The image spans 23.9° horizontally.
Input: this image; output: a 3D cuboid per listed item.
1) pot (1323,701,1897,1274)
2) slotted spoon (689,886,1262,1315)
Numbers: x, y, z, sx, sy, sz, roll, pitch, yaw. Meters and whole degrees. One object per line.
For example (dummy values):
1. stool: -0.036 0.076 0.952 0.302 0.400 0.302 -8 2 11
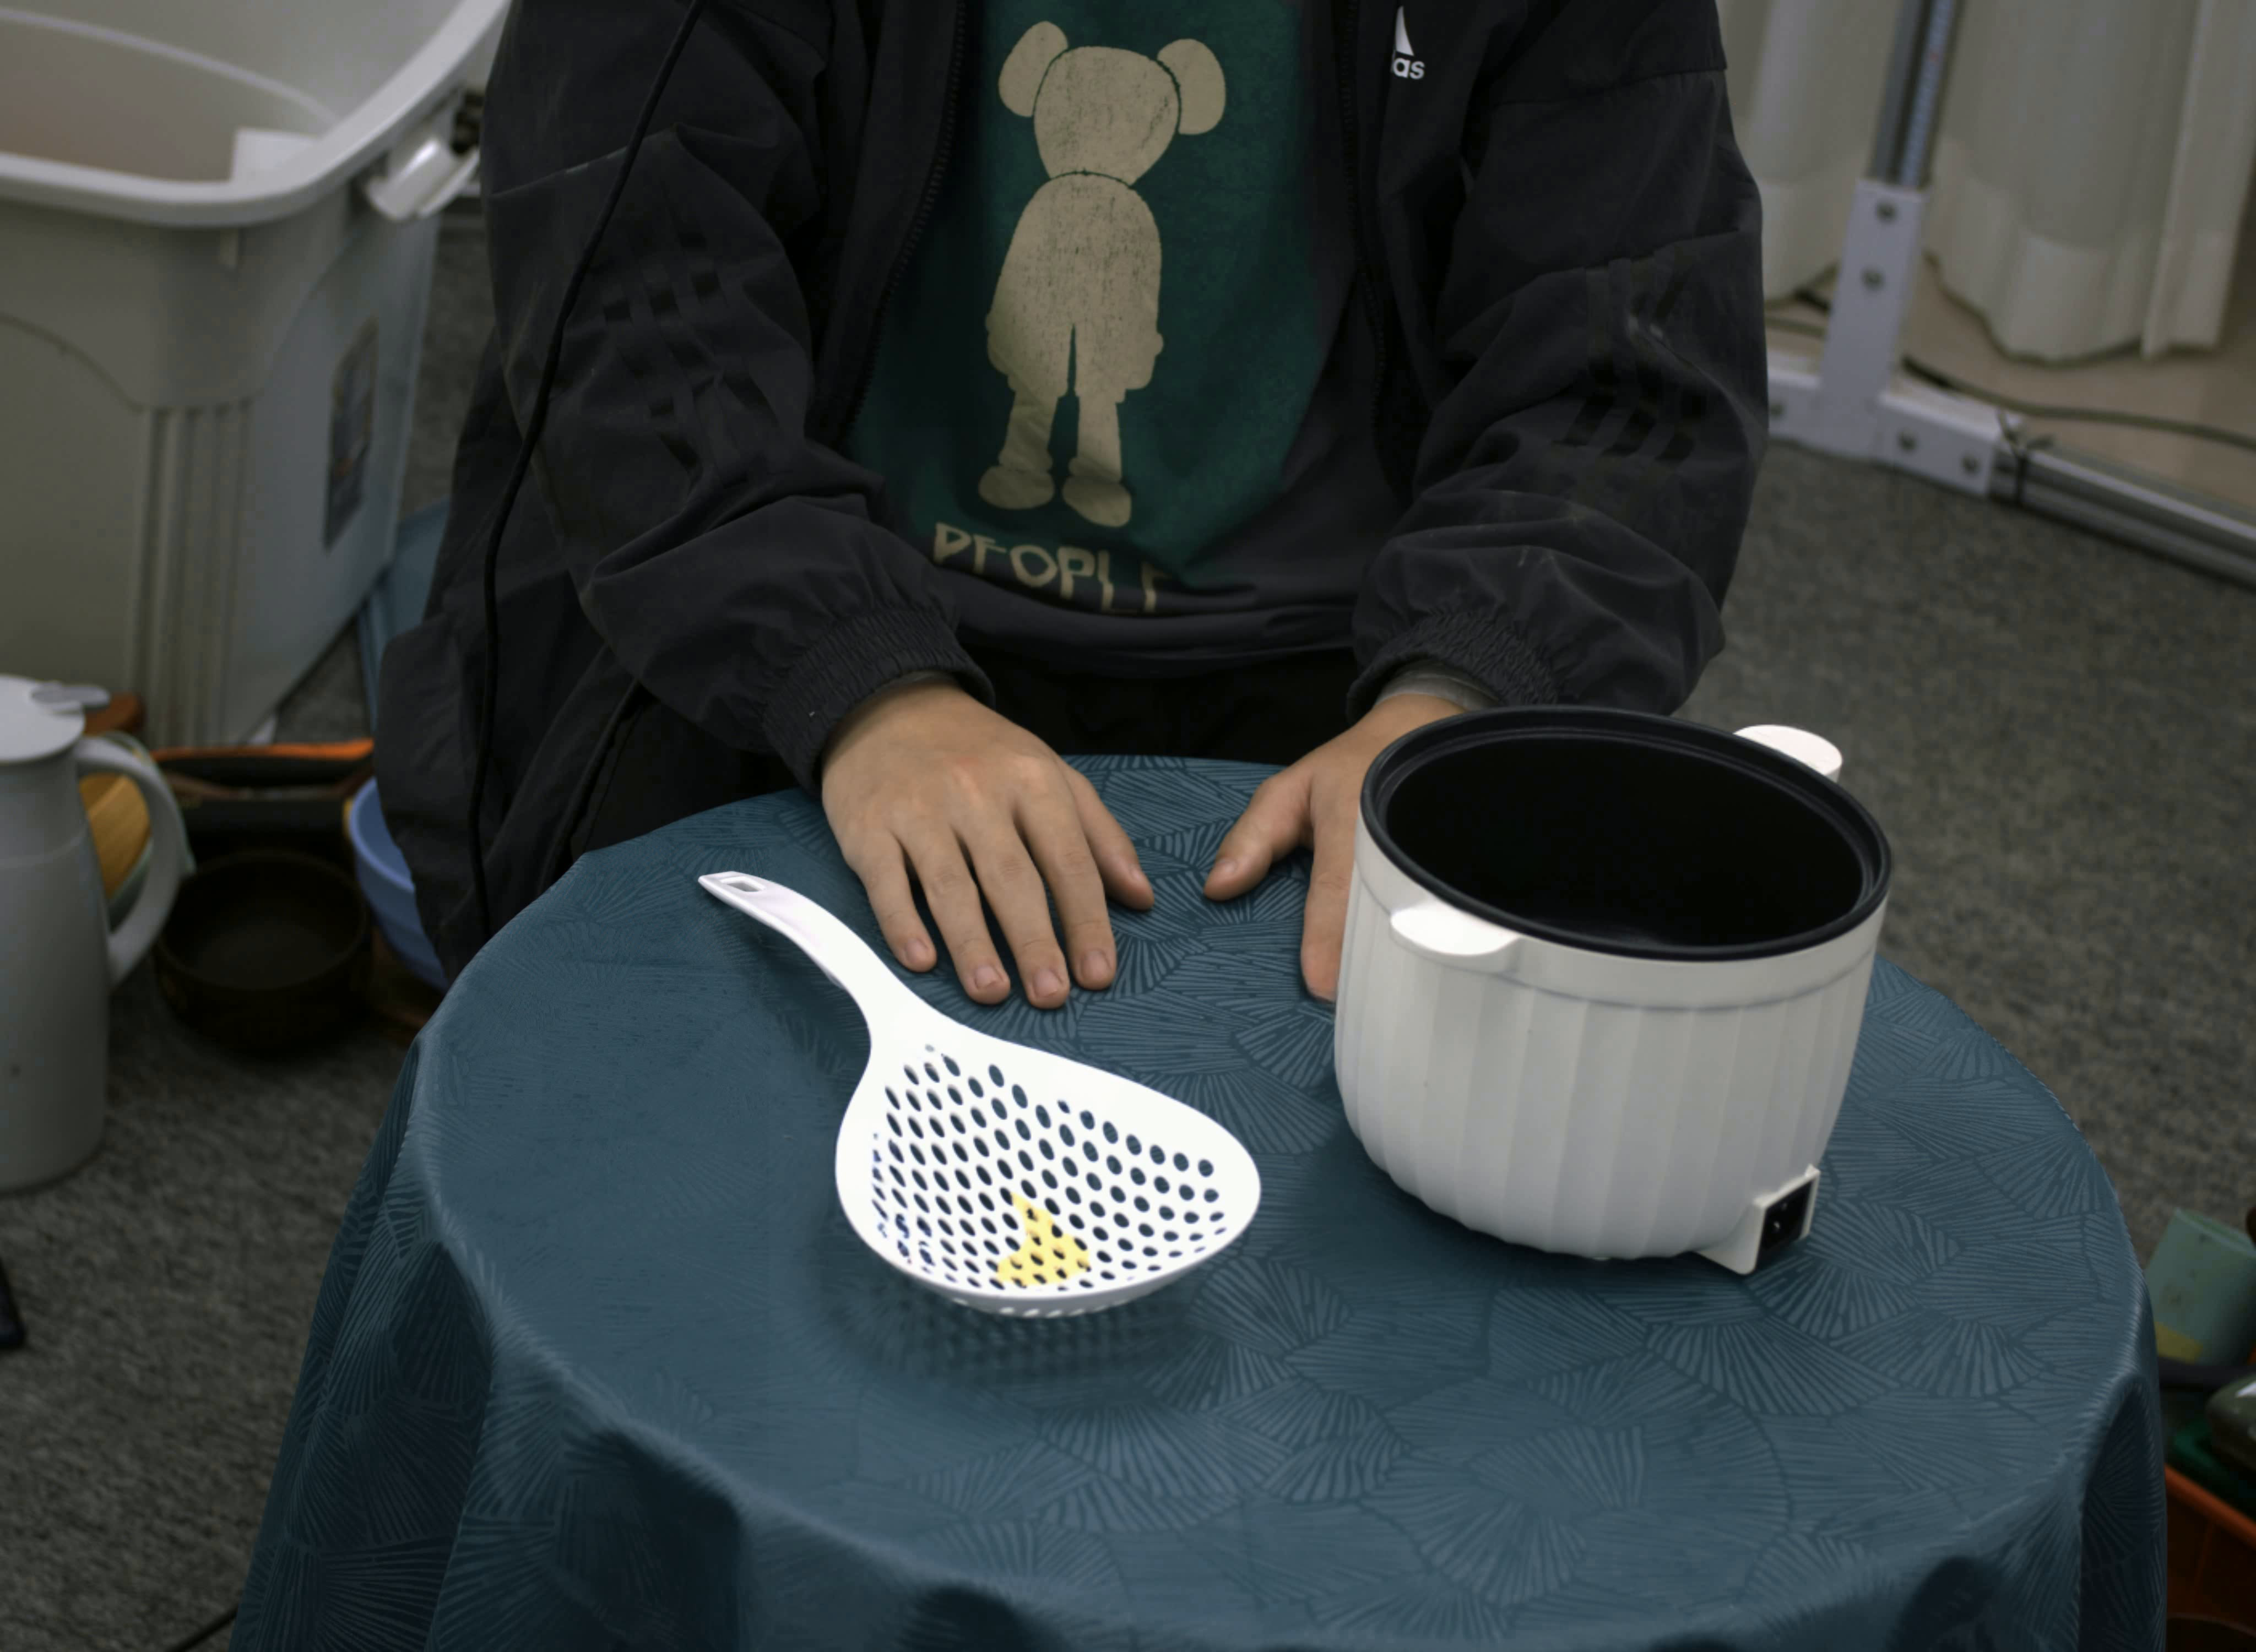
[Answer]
1. pot: 0.156 0.056 1.821 0.192 0.142 0.239 28 32 30
2. slotted spoon: -0.074 0.081 1.825 0.136 0.050 0.351 -15 33 -21
